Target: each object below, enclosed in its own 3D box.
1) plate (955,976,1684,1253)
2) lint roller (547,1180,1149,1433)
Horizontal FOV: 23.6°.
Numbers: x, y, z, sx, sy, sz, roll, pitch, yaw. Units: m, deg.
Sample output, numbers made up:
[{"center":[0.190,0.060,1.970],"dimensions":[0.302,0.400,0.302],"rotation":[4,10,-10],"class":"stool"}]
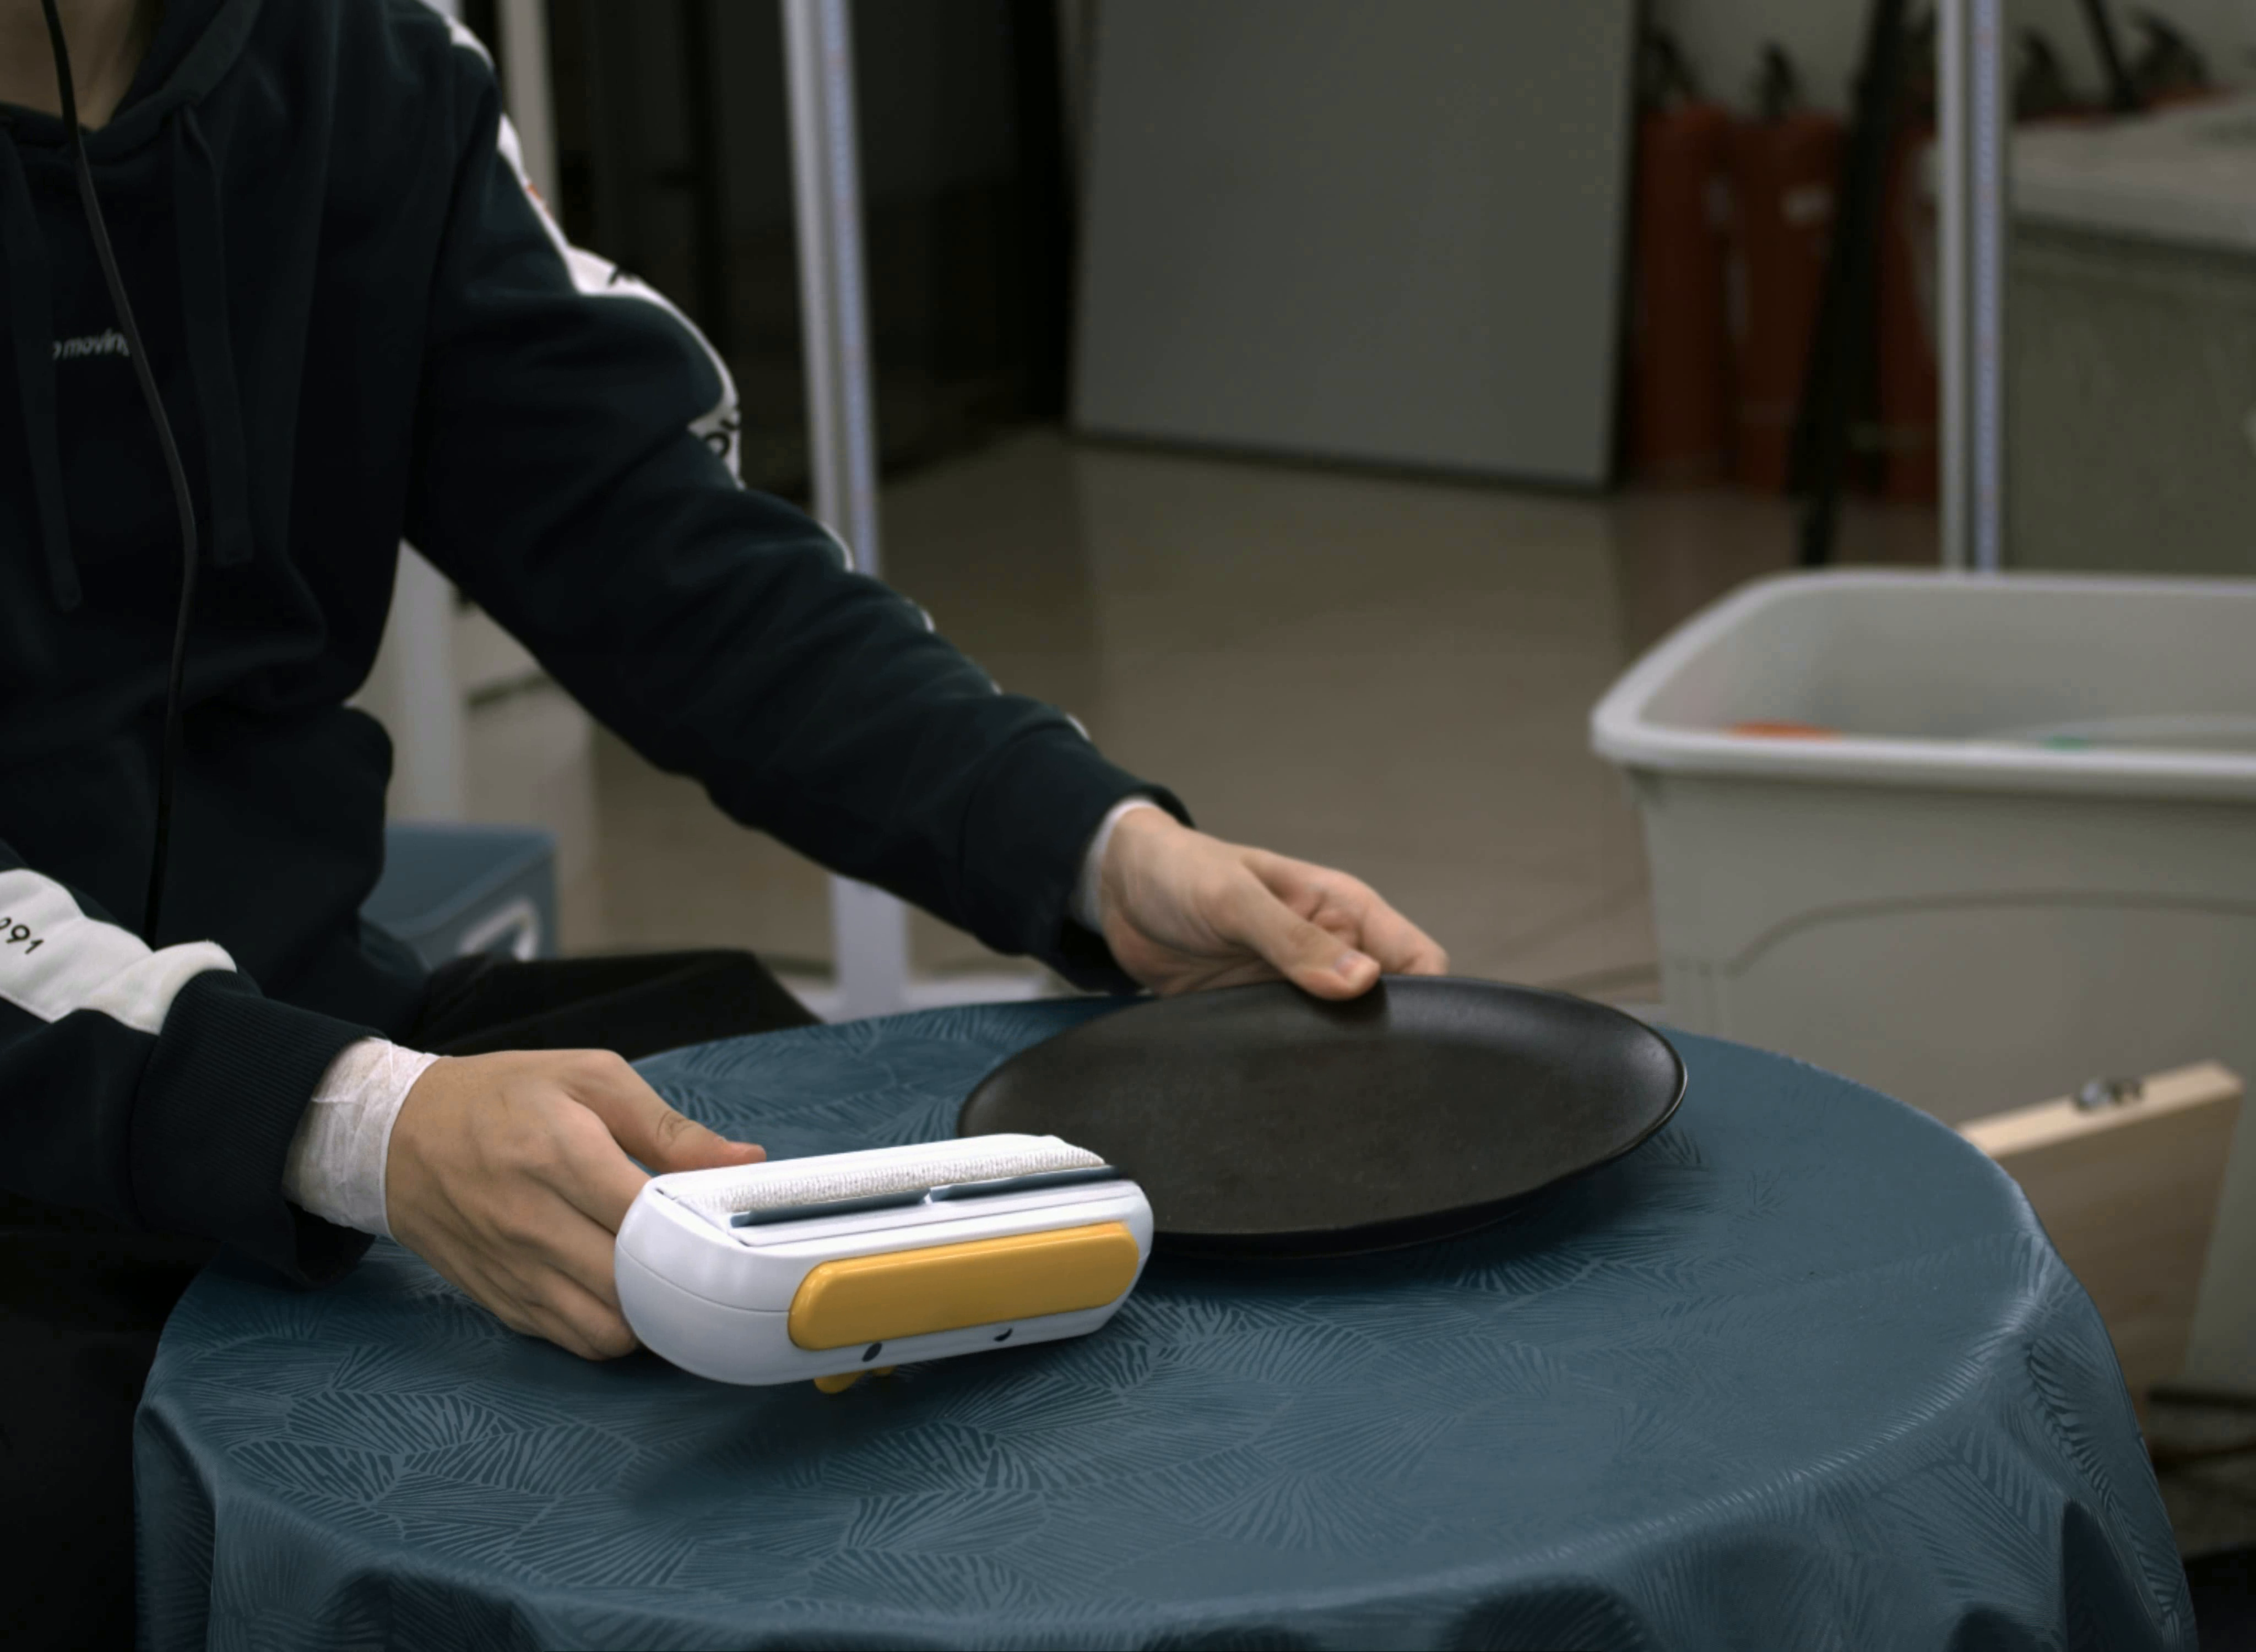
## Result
[{"center":[0.063,0.098,1.773],"dimensions":[0.241,0.023,0.245],"rotation":[-6,16,1],"class":"plate"},{"center":[-0.113,0.141,1.638],"dimensions":[0.188,0.075,0.194],"rotation":[-5,2,-40],"class":"lint roller"}]
